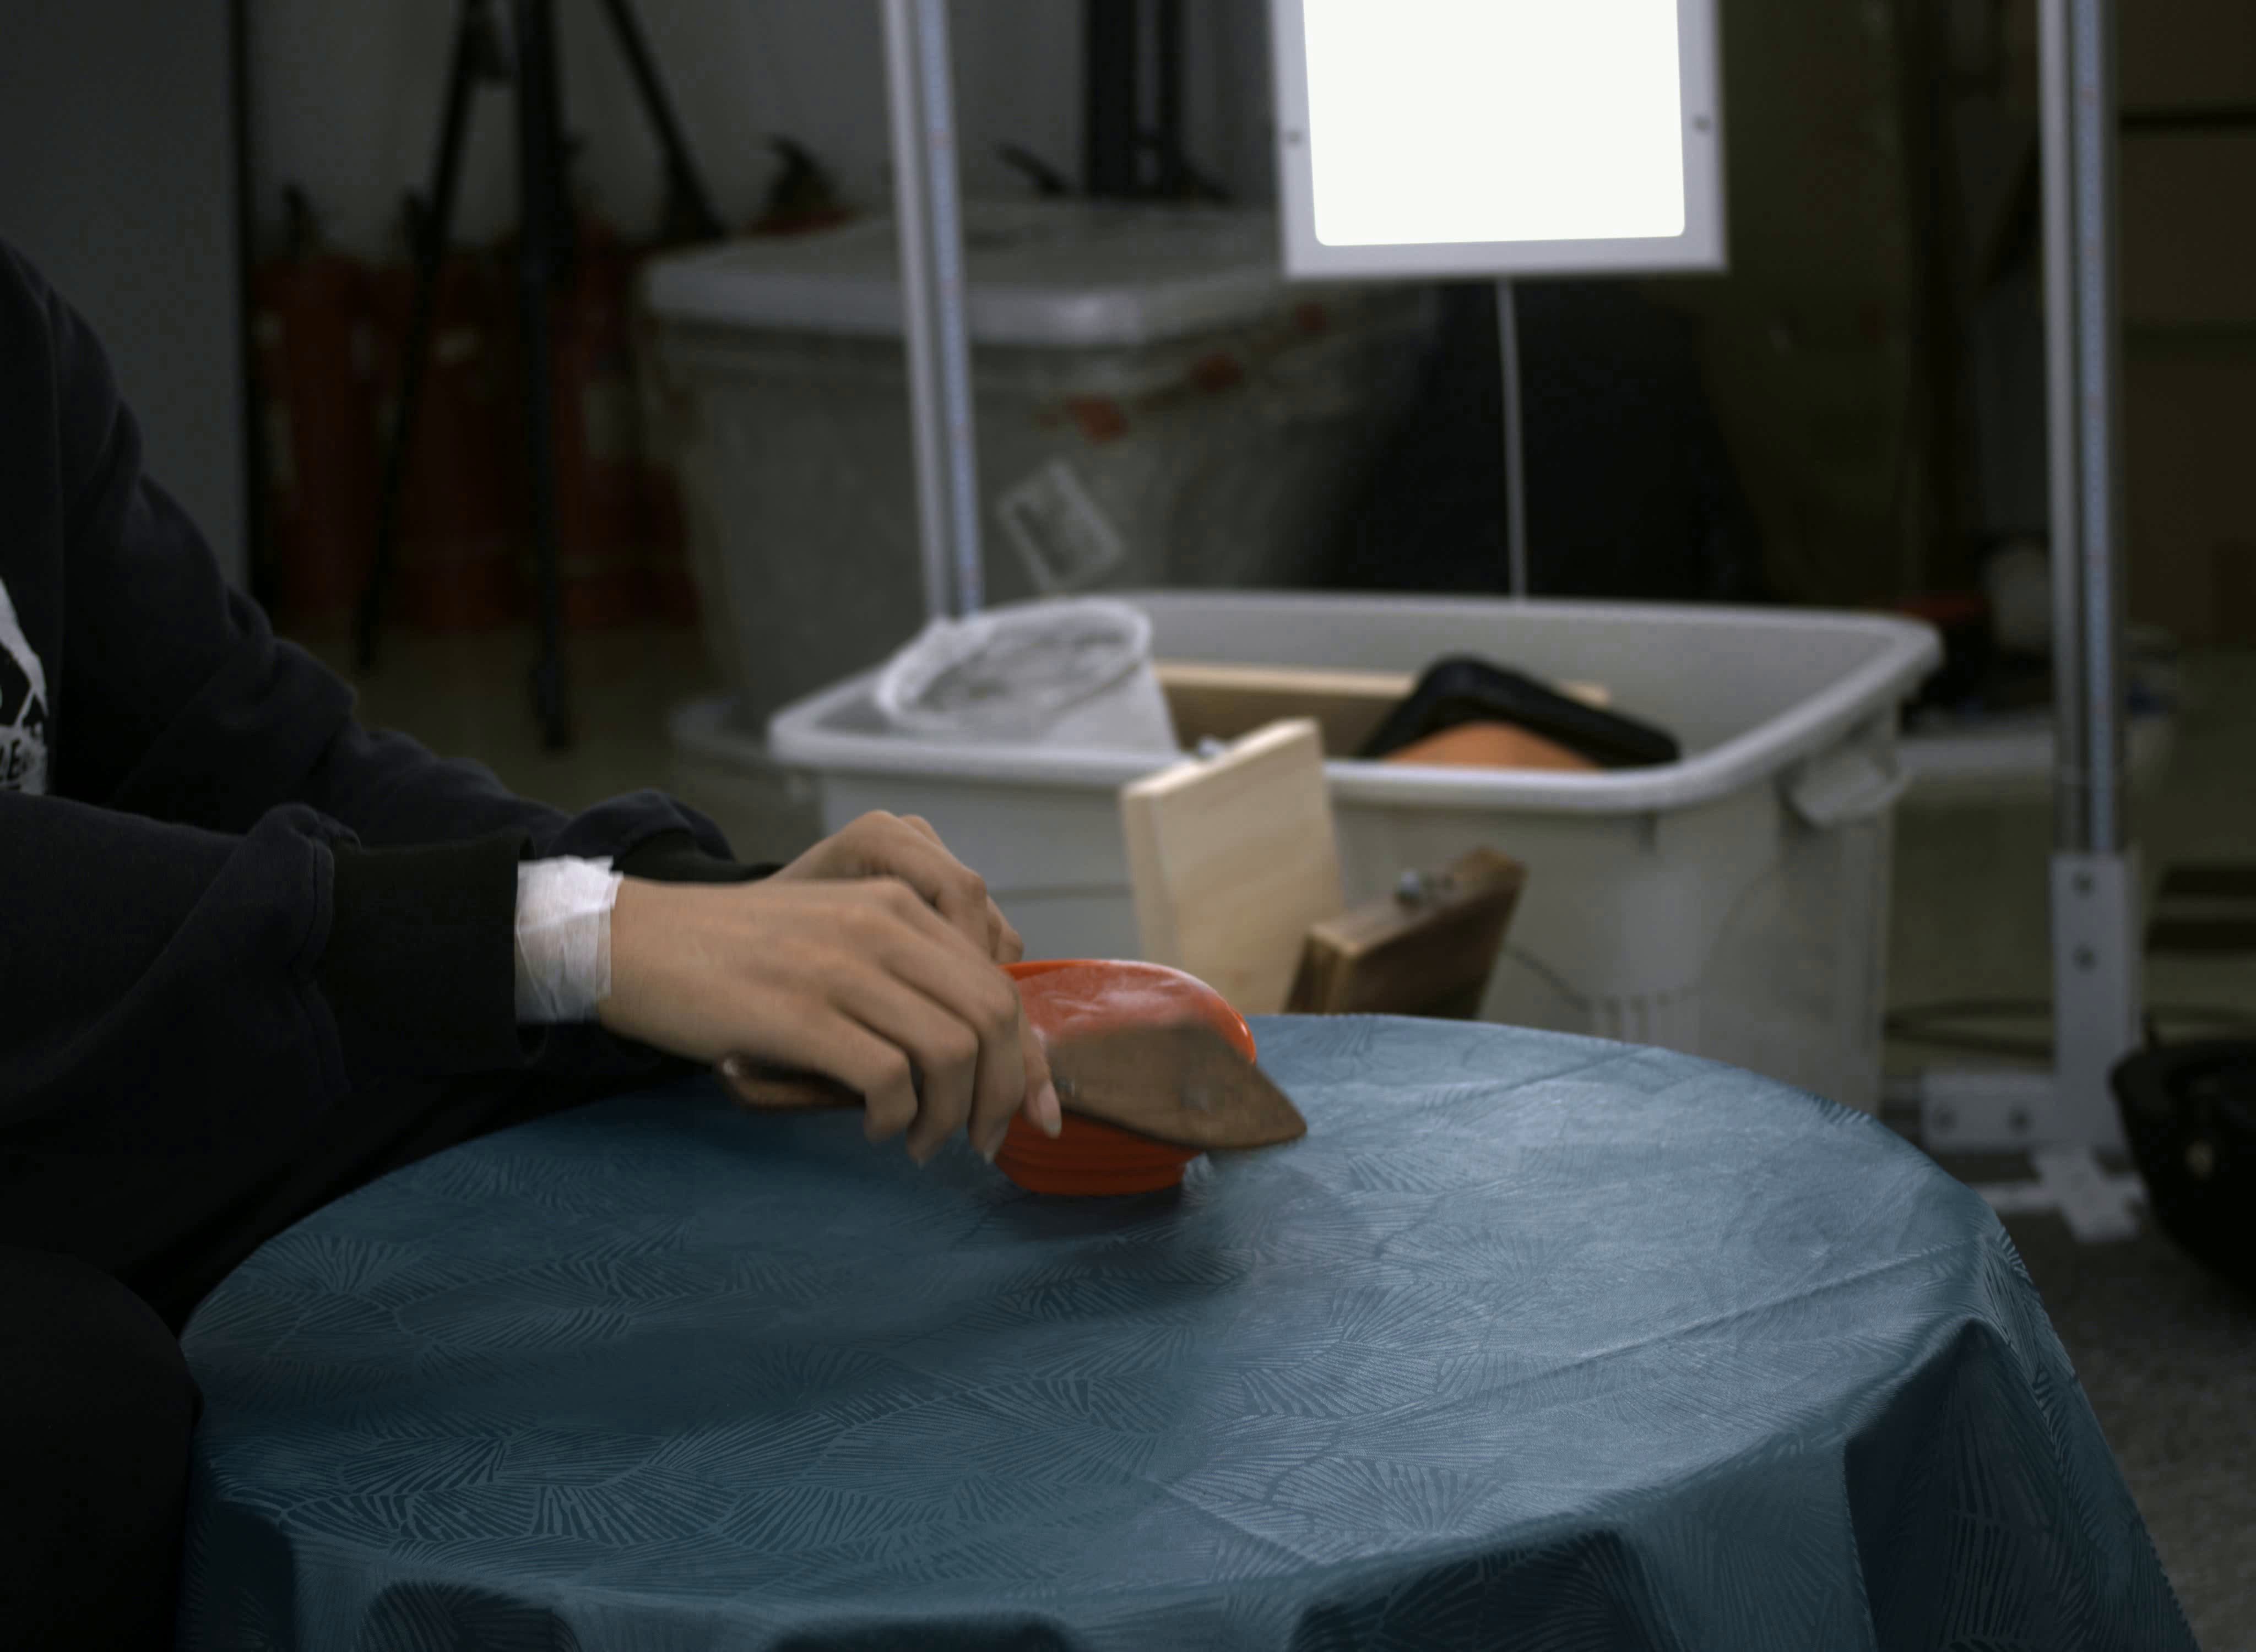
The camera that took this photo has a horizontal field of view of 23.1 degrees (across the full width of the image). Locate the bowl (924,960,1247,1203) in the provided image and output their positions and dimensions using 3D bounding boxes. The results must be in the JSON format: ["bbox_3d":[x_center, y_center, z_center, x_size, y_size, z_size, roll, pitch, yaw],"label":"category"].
[{"bbox_3d":[-0.017,0.093,1.911,0.118,0.052,0.118,5,24,-4],"label":"bowl"}]

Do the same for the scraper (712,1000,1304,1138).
[{"bbox_3d":[-0.040,0.078,1.767,0.206,0.011,0.077,2,30,-34],"label":"scraper"}]
